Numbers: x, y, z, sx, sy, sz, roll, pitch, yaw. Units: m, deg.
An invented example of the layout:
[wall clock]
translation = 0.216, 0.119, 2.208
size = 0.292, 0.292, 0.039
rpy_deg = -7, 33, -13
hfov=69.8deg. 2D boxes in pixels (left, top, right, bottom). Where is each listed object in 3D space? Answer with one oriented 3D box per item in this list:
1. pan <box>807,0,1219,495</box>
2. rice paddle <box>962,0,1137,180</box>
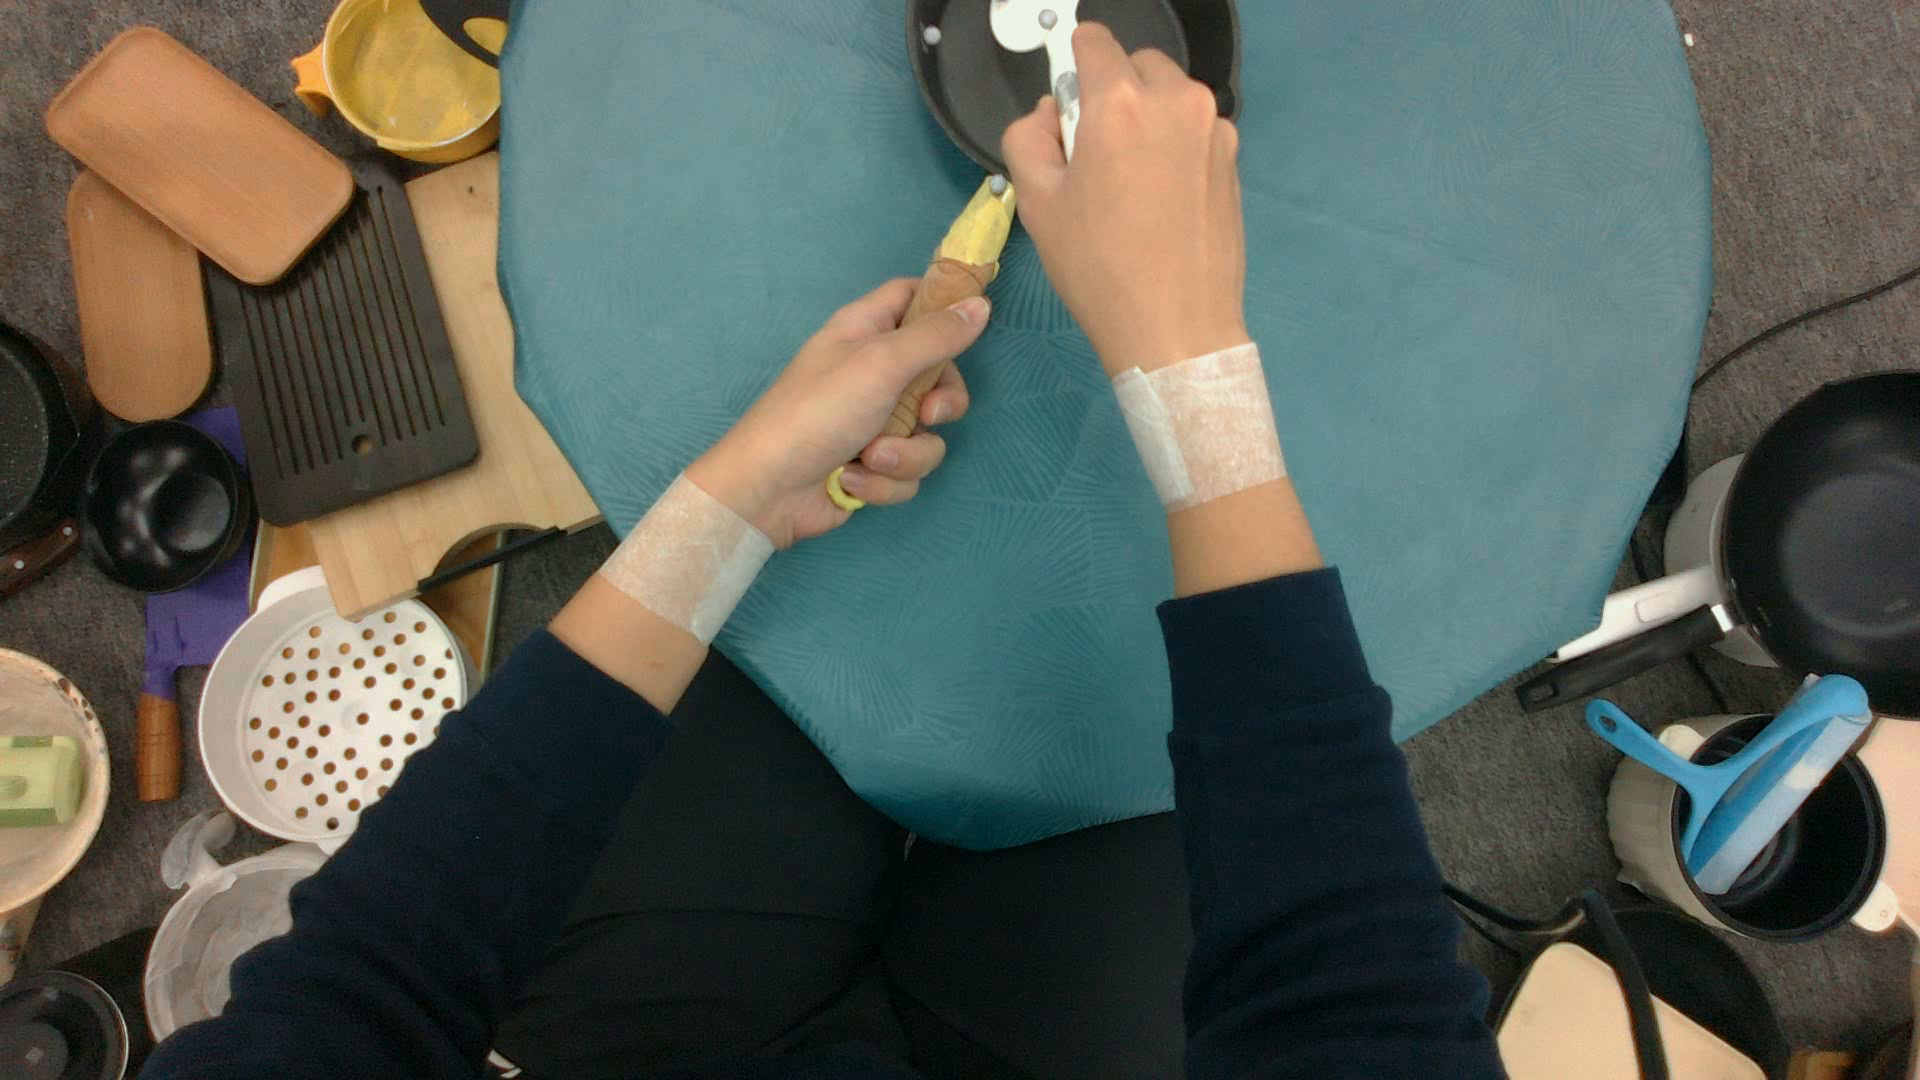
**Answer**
[pan]
translation = 0.006, -0.164, 0.630
size = 0.169, 0.049, 0.325
rpy_deg = 27, 78, -4
[rice paddle]
translation = 0.034, -0.224, 0.594
size = 0.029, 0.206, 0.068
rpy_deg = 24, 126, -34
